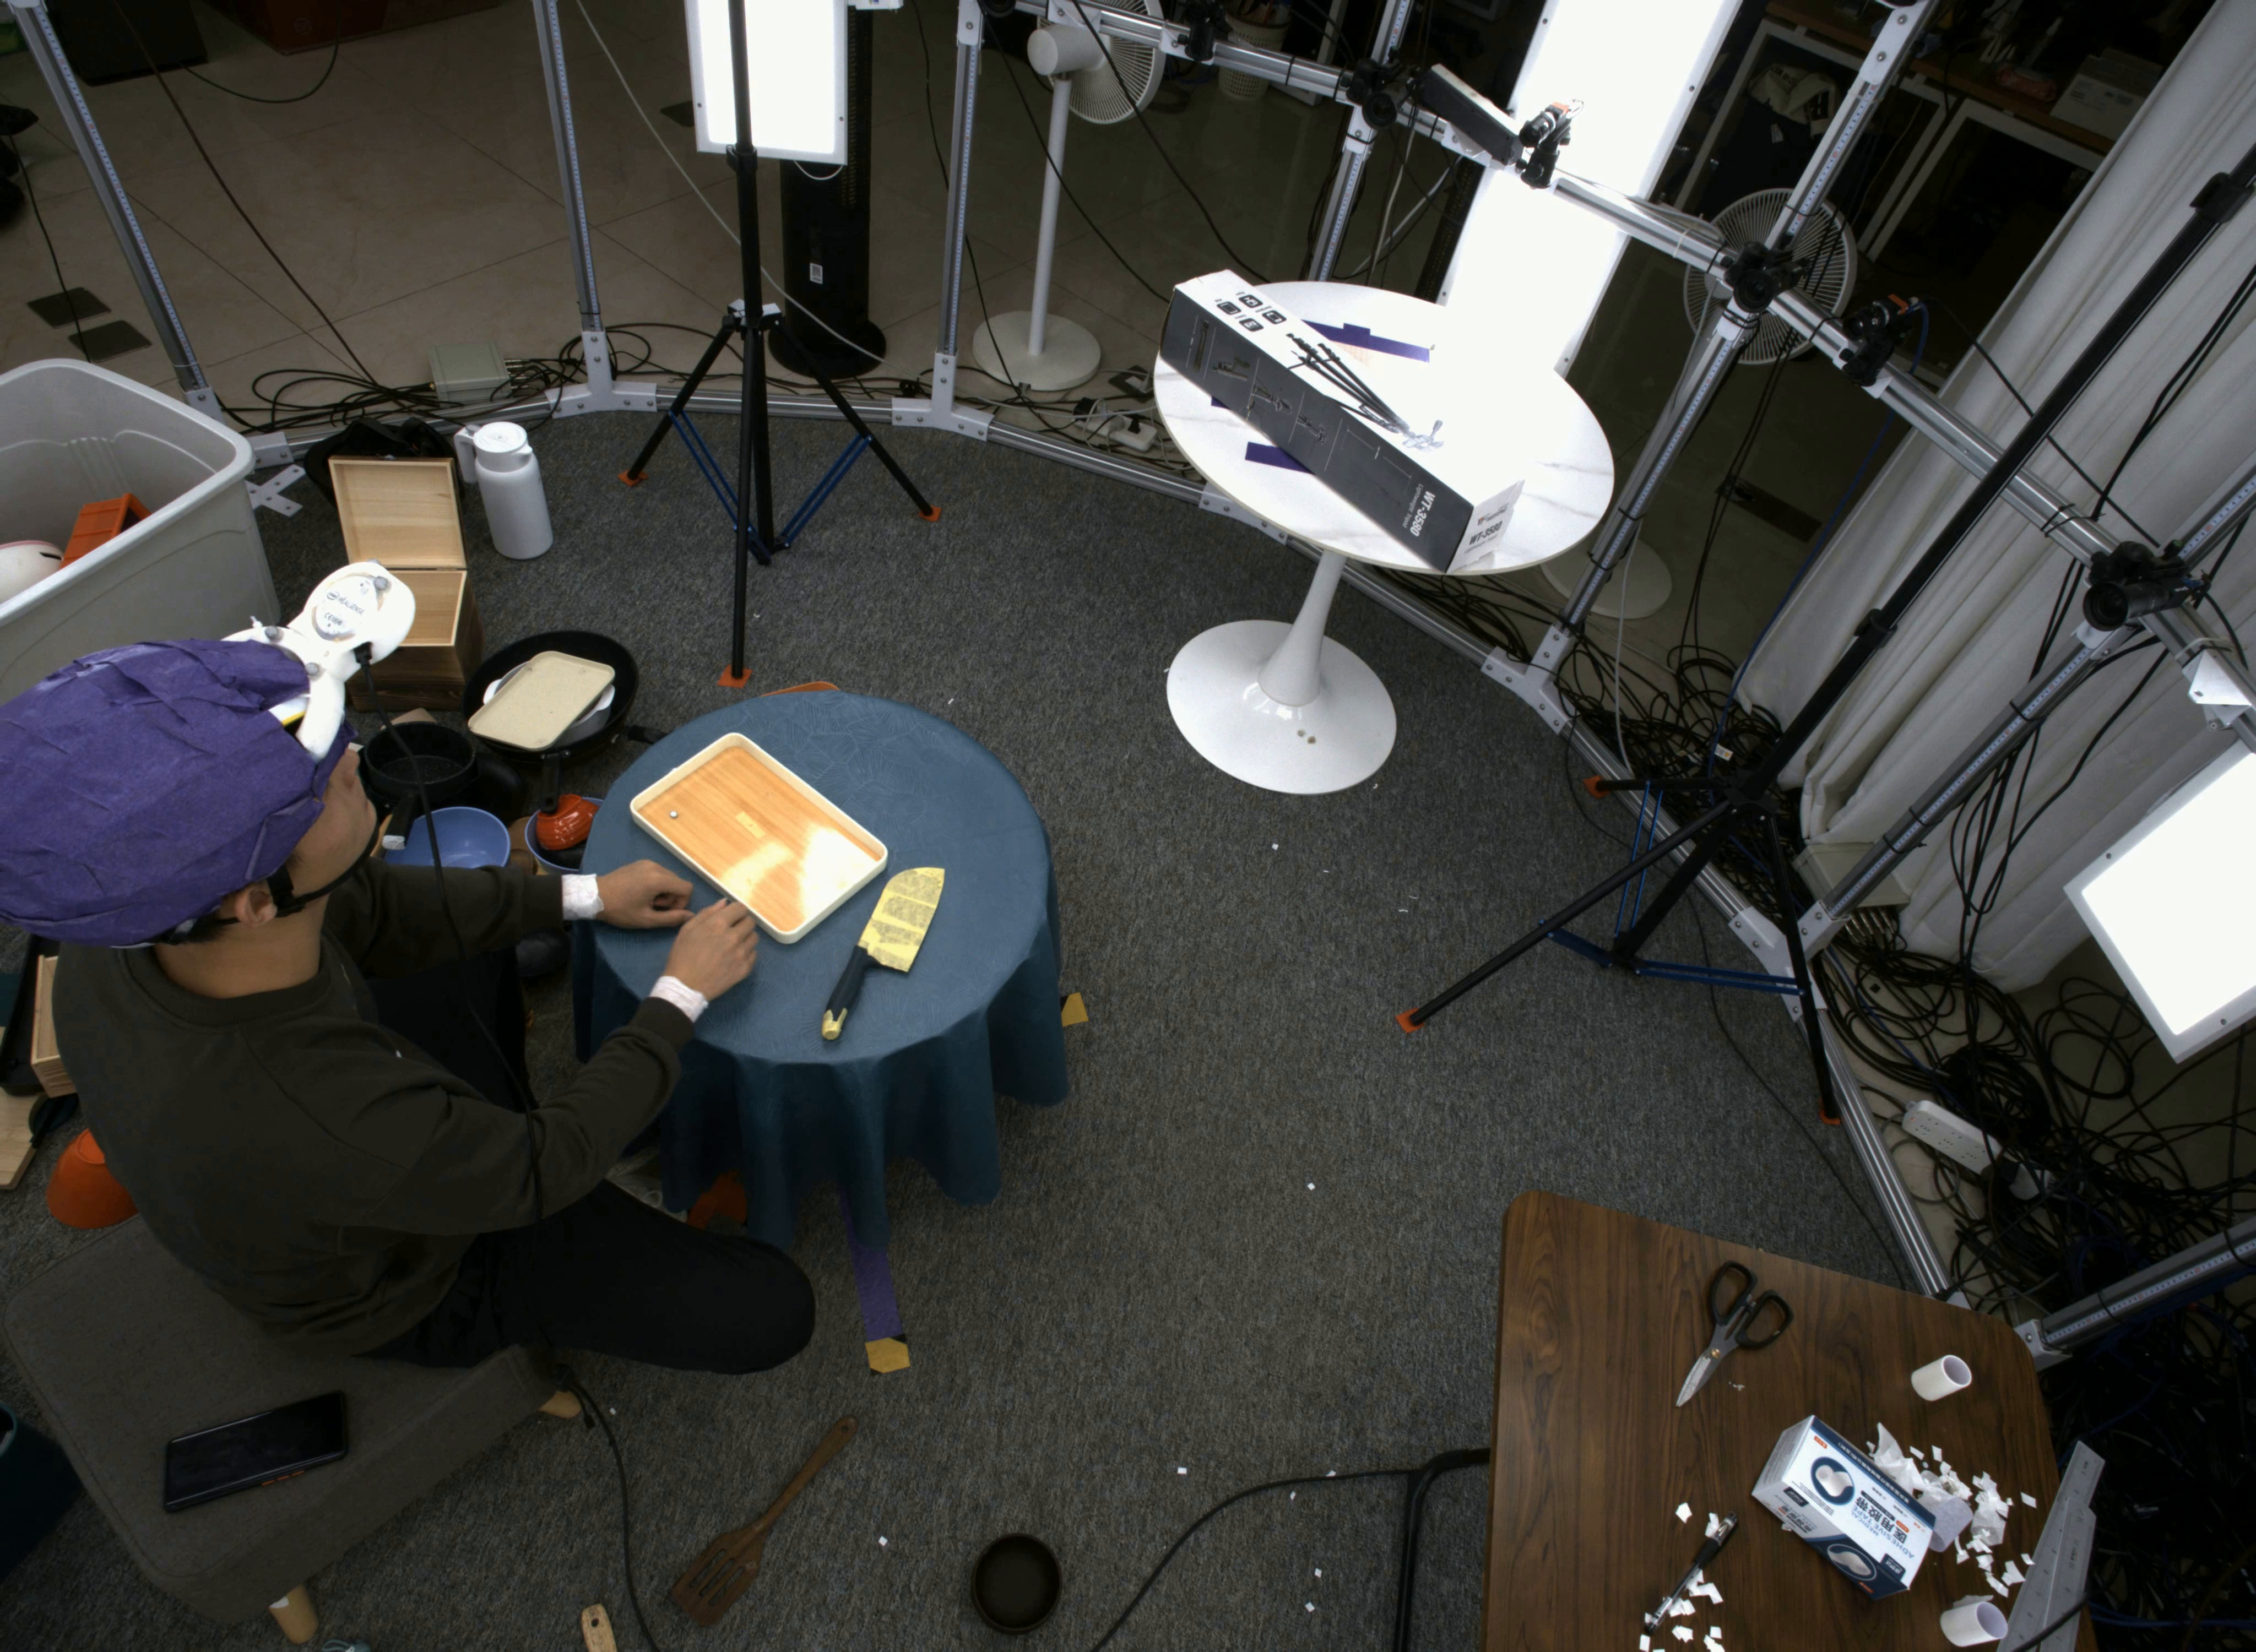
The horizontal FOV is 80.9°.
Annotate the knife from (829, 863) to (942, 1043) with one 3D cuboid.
[{"bbox_3d":[-0.304,0.153,1.643,0.080,0.028,0.286,20,51,2],"label":"knife"}]

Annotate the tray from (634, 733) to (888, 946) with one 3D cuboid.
[{"bbox_3d":[-0.481,0.011,1.696,0.294,0.028,0.191,36,55,13],"label":"tray"}]
